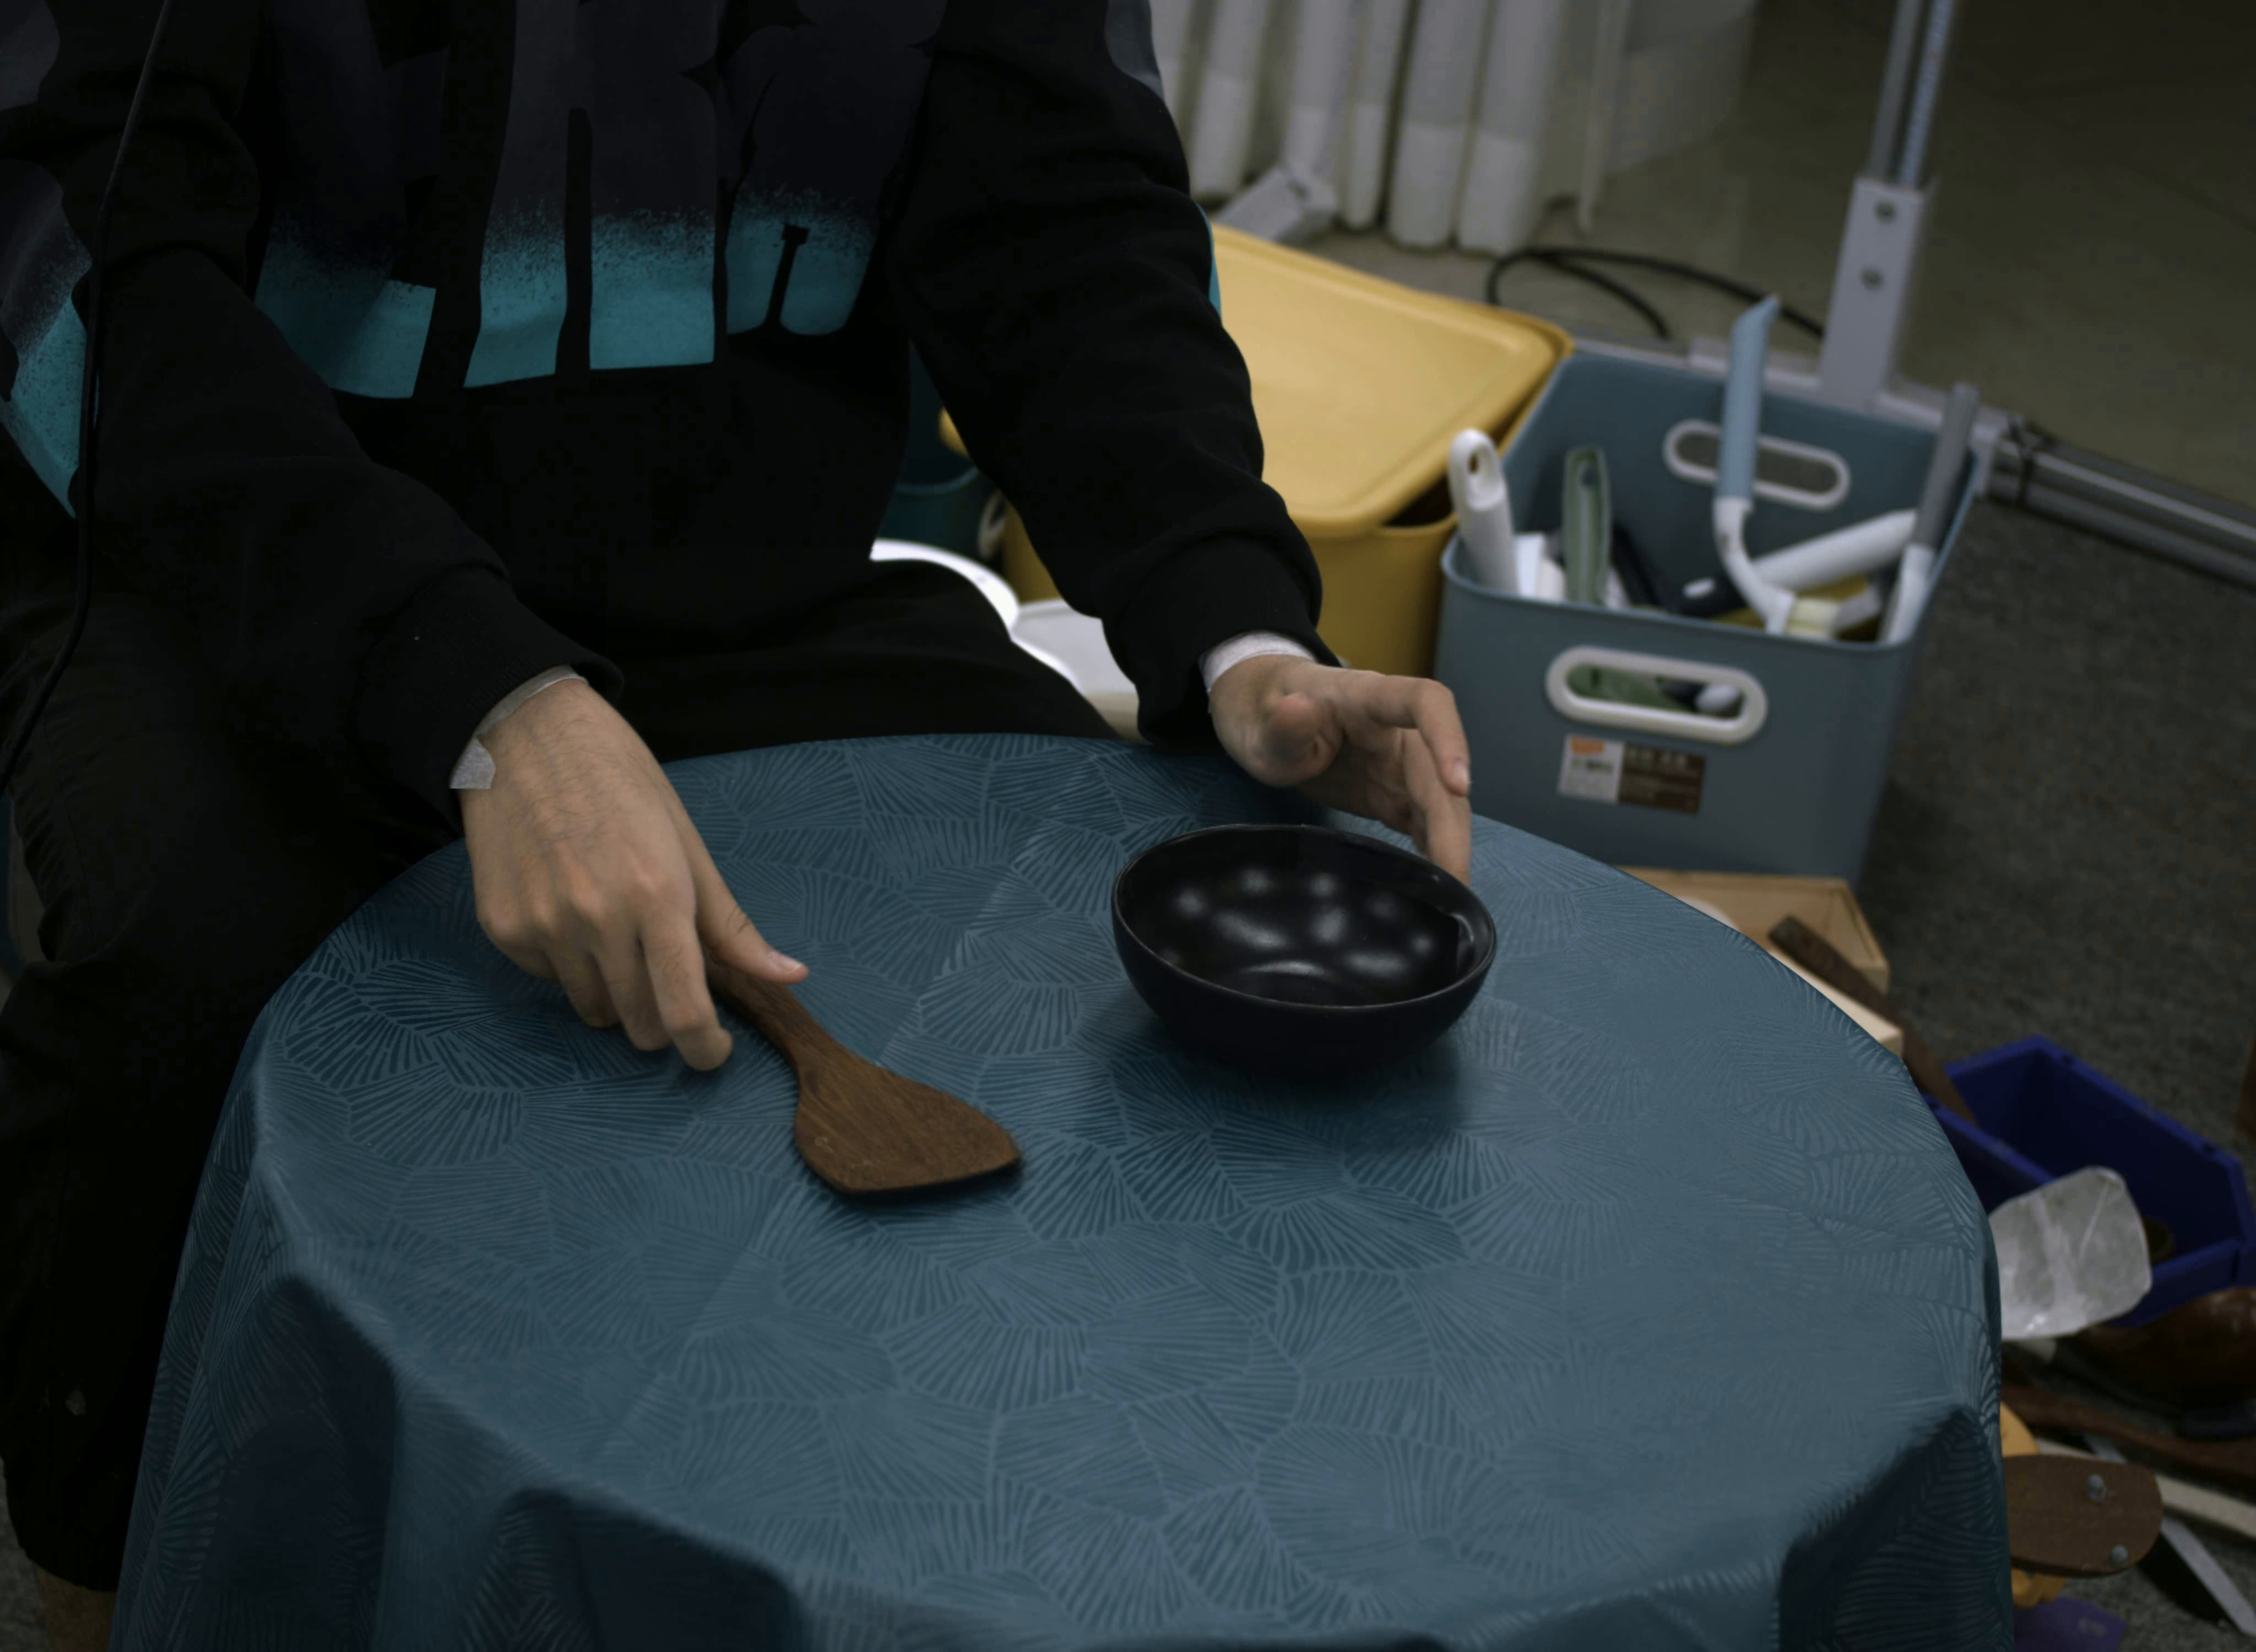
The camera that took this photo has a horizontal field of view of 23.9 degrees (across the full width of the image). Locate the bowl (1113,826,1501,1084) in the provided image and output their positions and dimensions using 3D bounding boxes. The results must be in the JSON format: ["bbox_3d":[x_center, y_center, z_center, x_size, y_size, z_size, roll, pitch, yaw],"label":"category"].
[{"bbox_3d":[0.062,0.054,1.901,0.139,0.049,0.141,2,27,-2],"label":"bowl"}]

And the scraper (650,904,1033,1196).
[{"bbox_3d":[-0.112,0.077,1.858,0.075,0.011,0.213,-8,30,-30],"label":"scraper"}]
